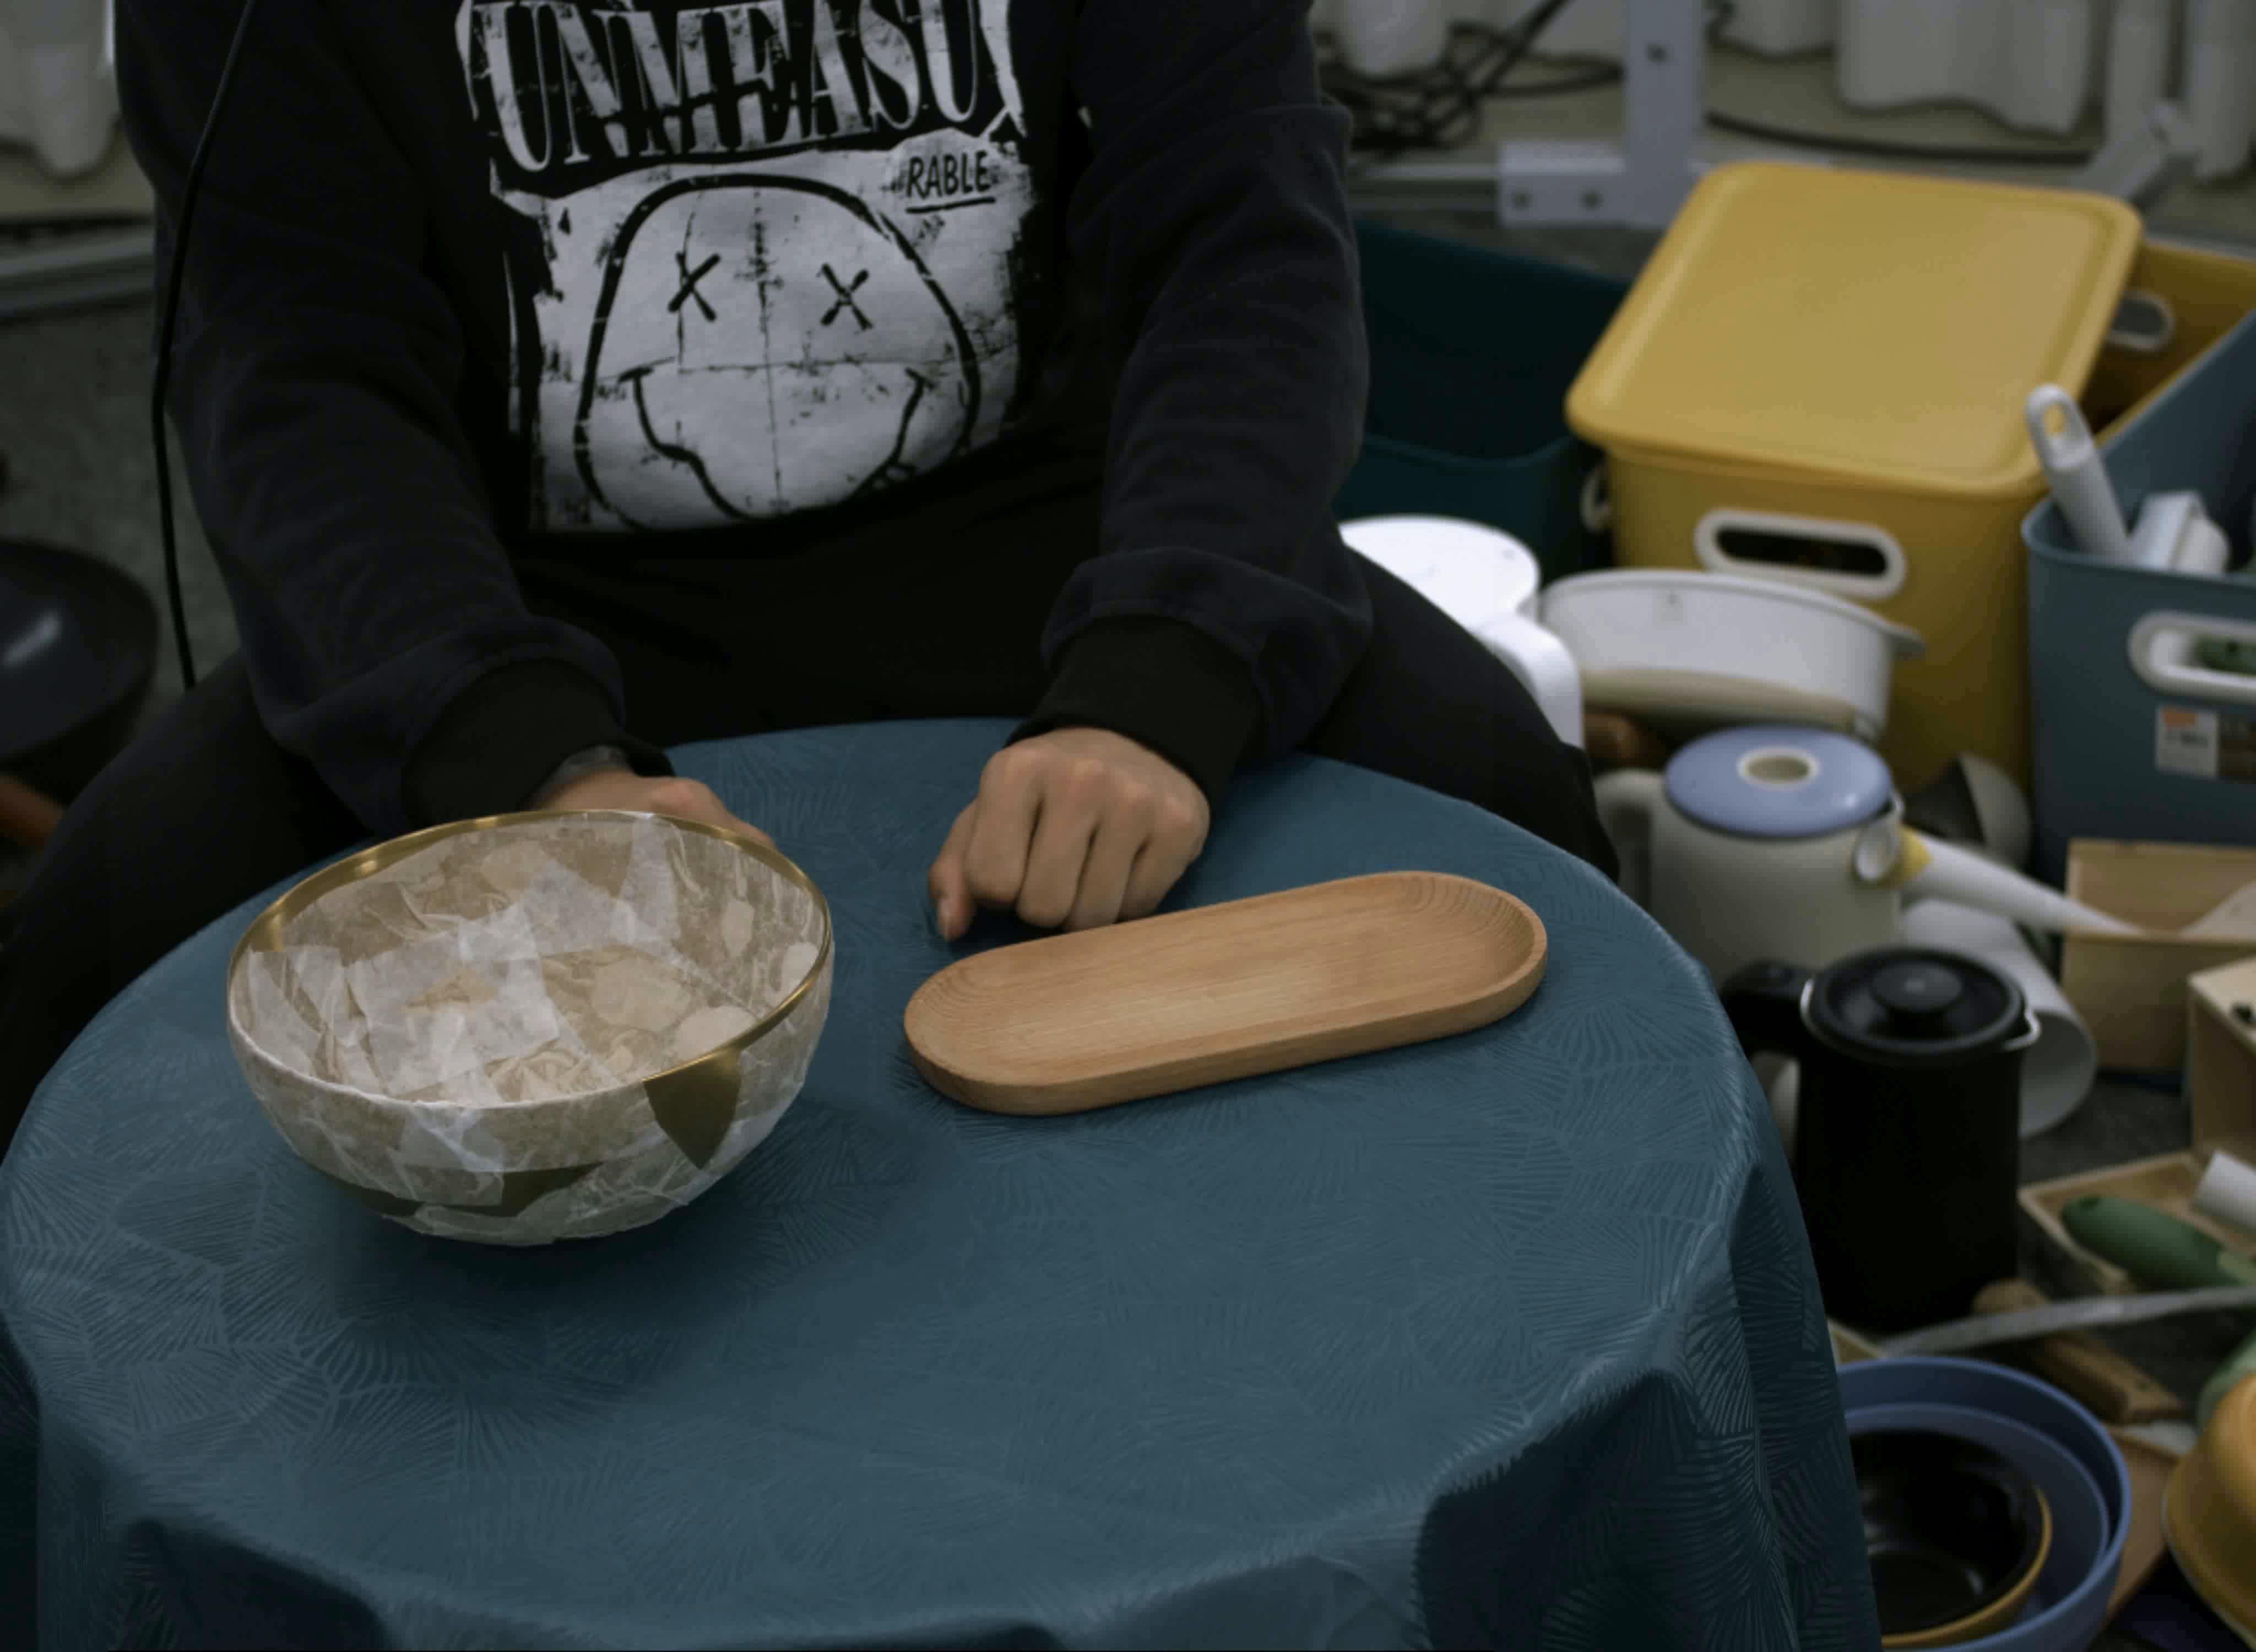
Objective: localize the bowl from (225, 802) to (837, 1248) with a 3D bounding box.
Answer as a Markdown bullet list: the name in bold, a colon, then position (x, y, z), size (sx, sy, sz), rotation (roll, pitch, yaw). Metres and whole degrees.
- **bowl**: position (-0.190, 0.078, 1.864), size (0.213, 0.093, 0.218), rotation (-3, 27, 2)

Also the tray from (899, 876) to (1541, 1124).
- **tray**: position (0.033, 0.061, 1.959), size (0.231, 0.020, 0.102), rotation (-13, 27, -15)
